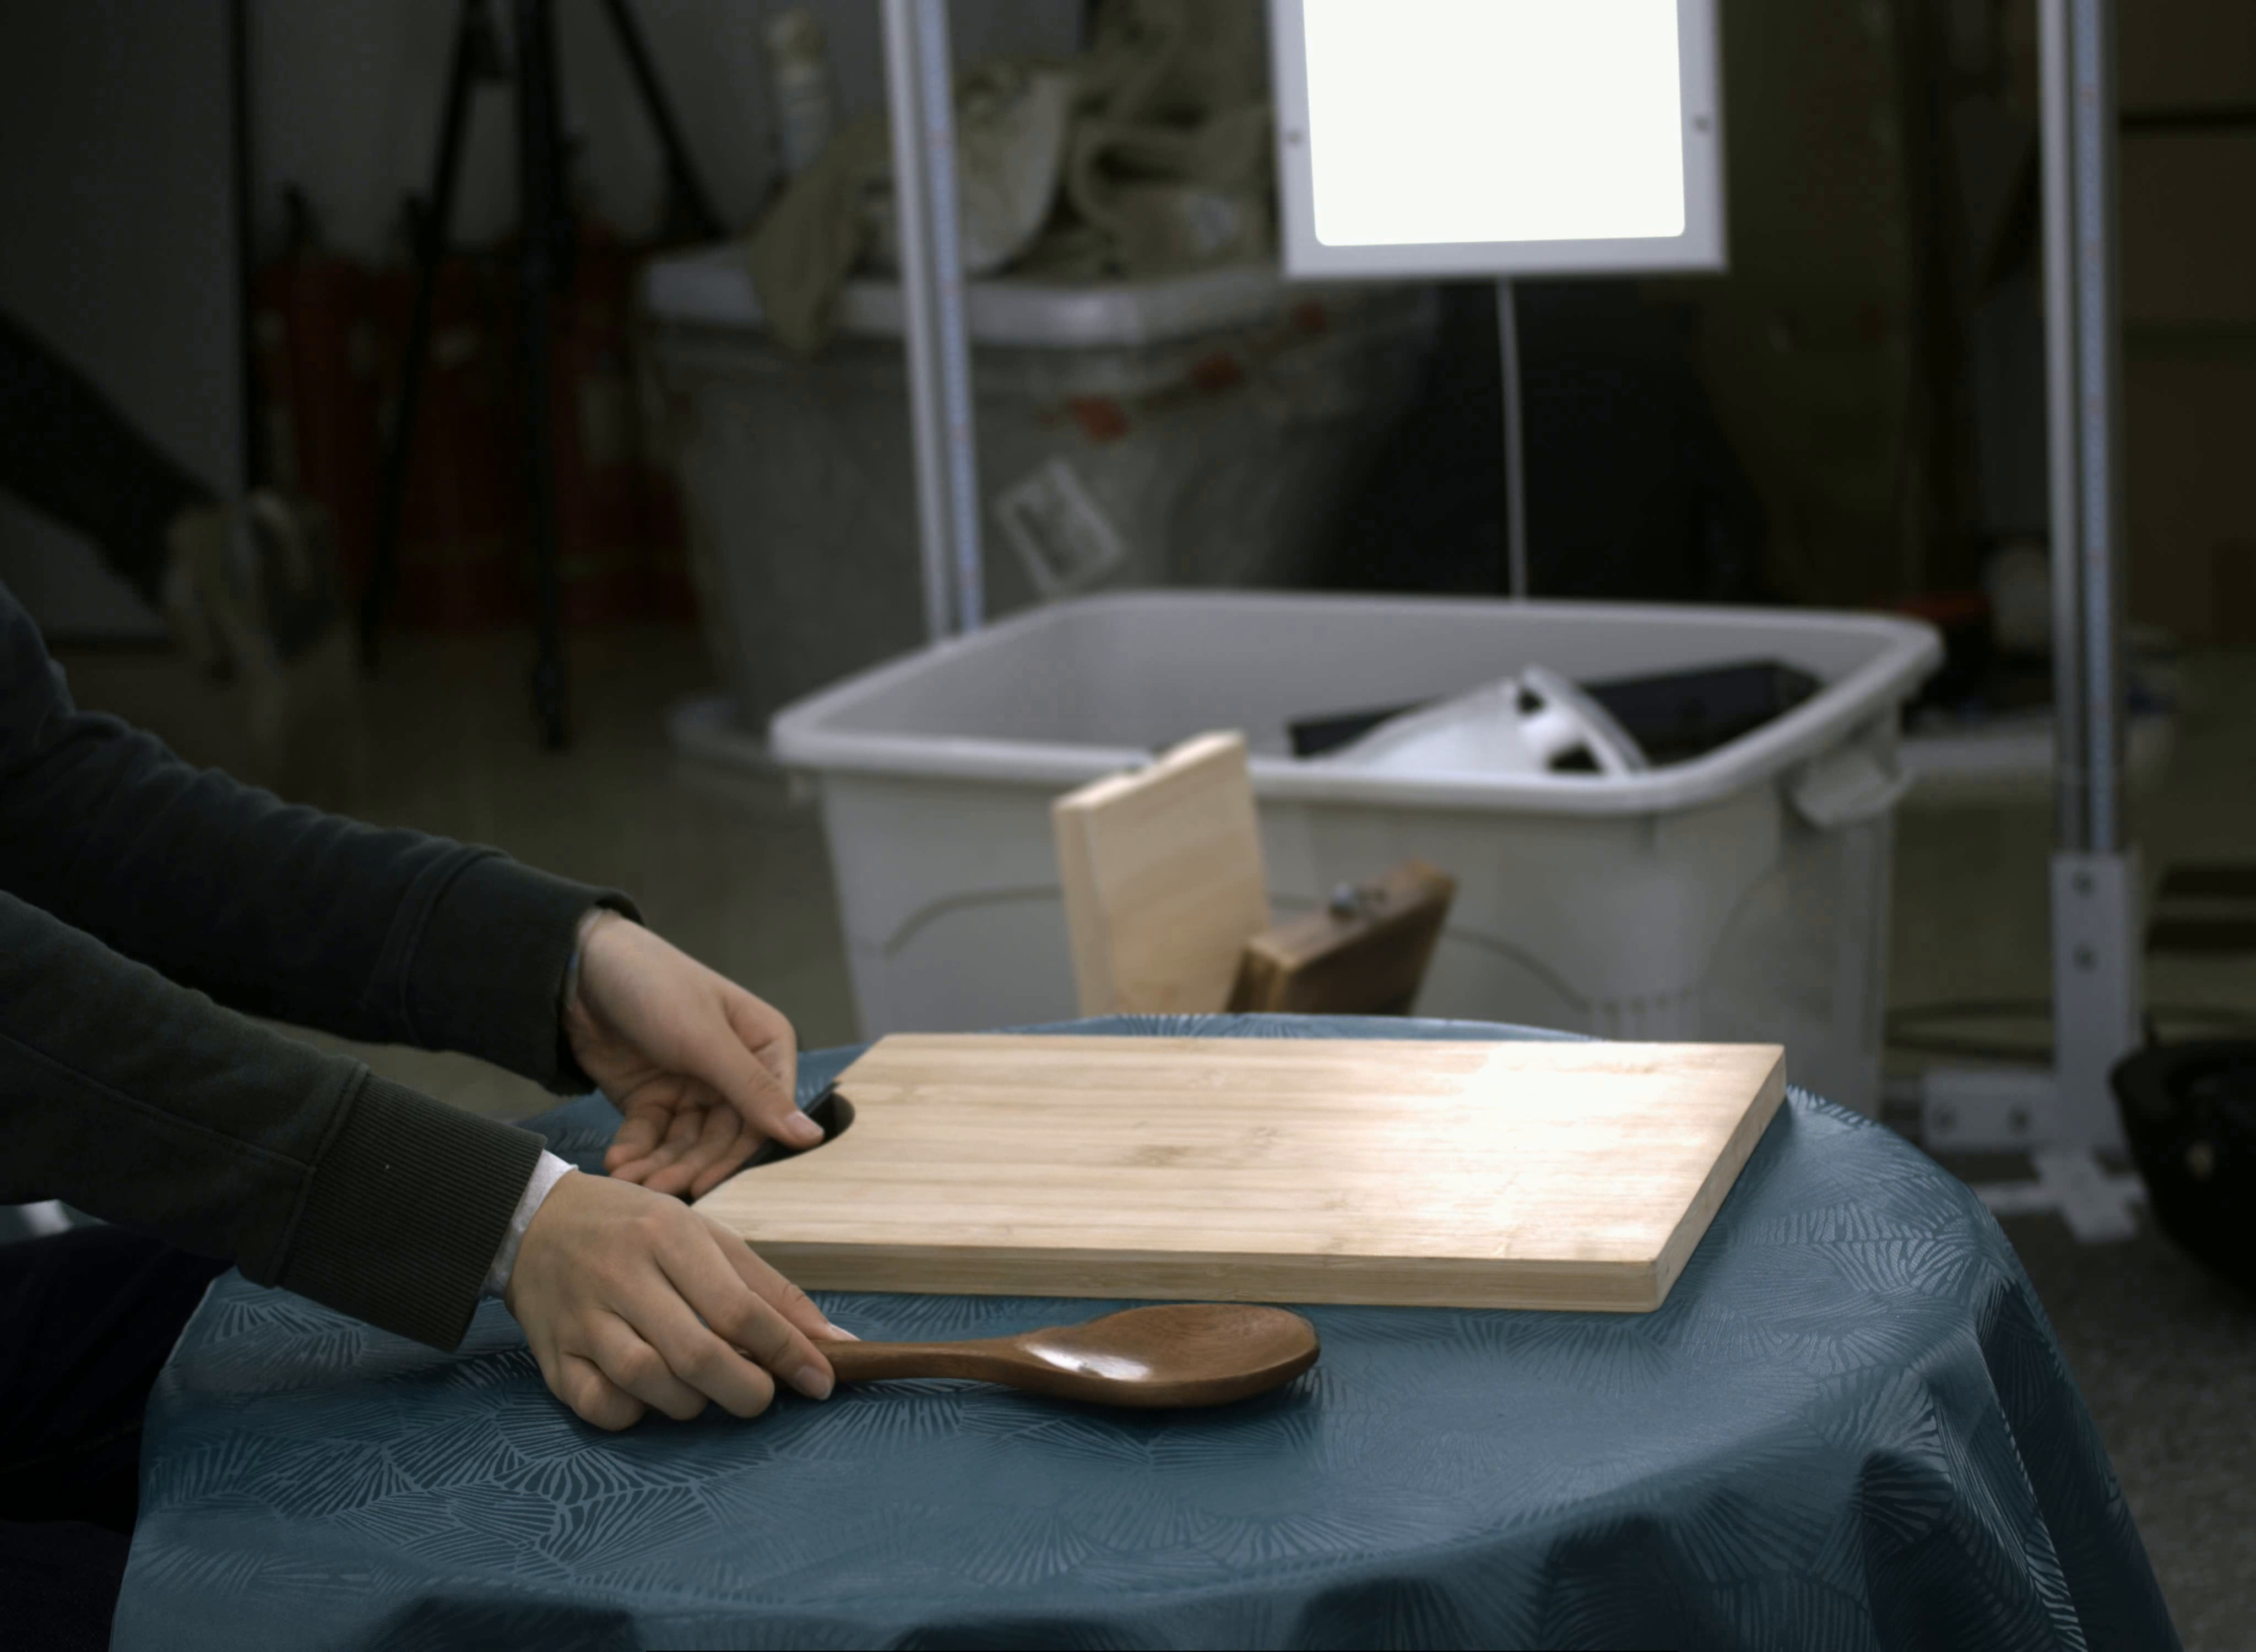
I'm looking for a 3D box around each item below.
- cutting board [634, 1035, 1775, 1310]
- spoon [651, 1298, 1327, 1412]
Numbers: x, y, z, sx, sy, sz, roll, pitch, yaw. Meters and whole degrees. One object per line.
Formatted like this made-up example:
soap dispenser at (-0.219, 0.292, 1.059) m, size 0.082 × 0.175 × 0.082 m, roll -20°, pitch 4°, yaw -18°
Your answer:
cutting board at (0.033, 0.116, 1.895) m, size 0.353 × 0.023 × 0.247 m, roll 0°, pitch 14°, yaw 18°
spoon at (-0.044, 0.166, 1.714) m, size 0.218 × 0.017 × 0.074 m, roll -1°, pitch 16°, yaw 14°
